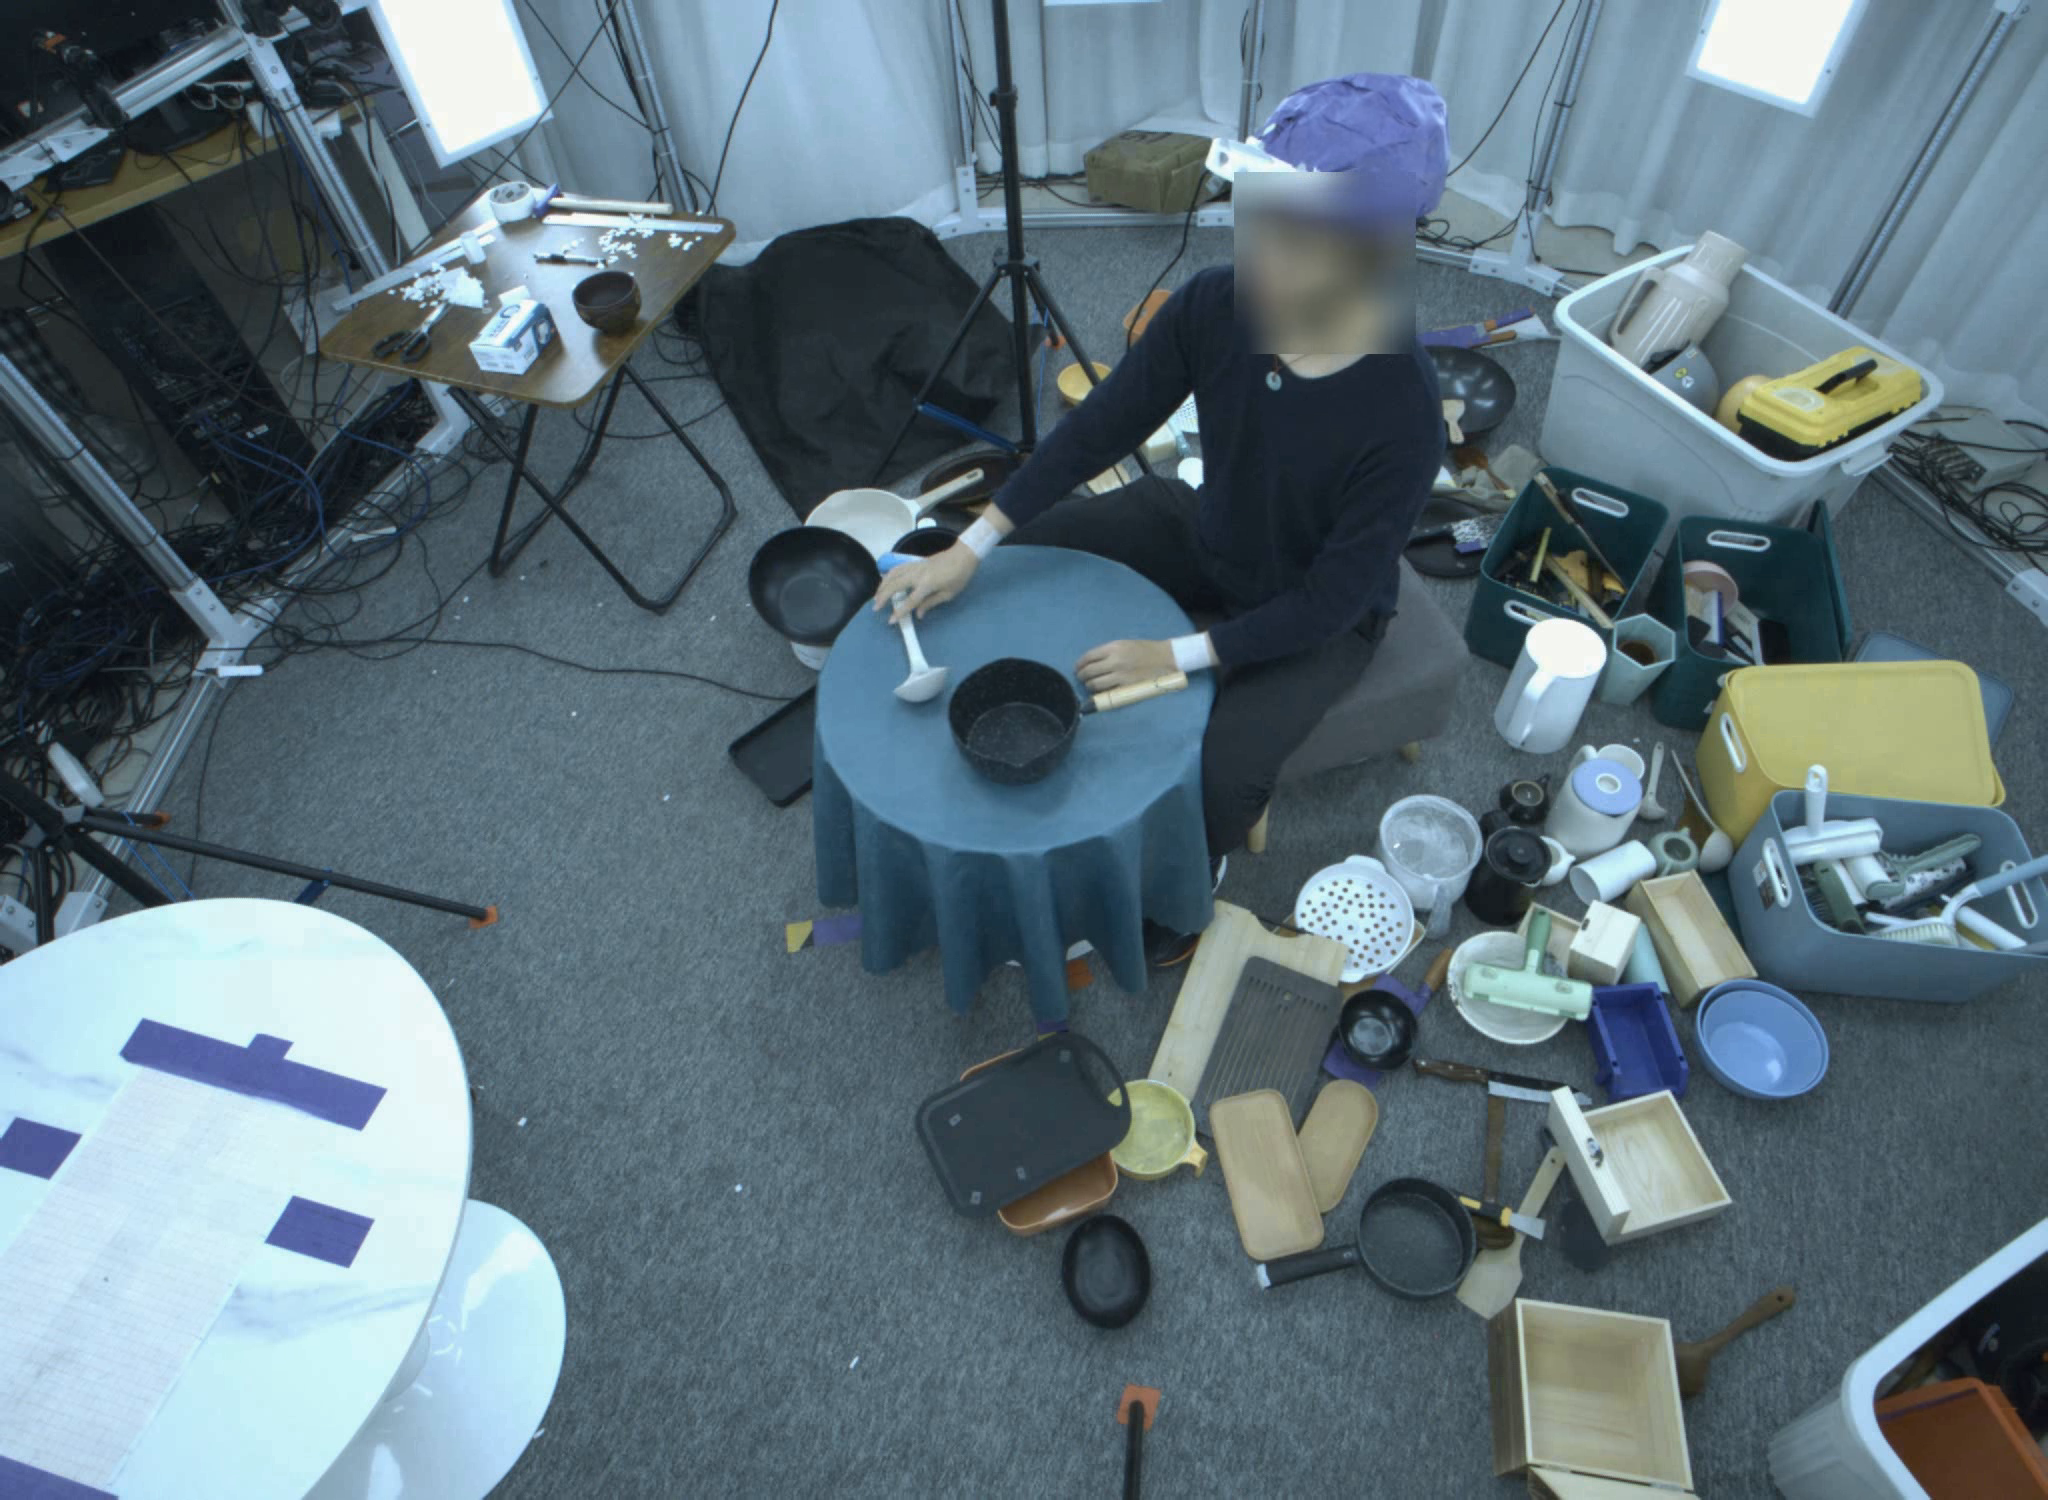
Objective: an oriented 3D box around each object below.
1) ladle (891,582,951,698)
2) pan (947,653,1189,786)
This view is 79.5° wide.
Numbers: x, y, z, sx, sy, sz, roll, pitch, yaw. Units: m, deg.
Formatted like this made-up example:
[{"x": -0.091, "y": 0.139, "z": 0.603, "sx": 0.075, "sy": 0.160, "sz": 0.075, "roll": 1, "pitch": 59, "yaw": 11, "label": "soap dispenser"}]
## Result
[{"x": -0.179, "y": -0.189, "z": 1.883, "sx": 0.089, "sy": 0.070, "sz": 0.270, "roll": -17, "pitch": 53, "yaw": -3, "label": "ladle"}, {"x": 0.064, "y": -0.053, "z": 1.755, "sx": 0.343, "sy": 0.109, "sz": 0.204, "roll": -9, "pitch": 54, "yaw": -2, "label": "pan"}]
